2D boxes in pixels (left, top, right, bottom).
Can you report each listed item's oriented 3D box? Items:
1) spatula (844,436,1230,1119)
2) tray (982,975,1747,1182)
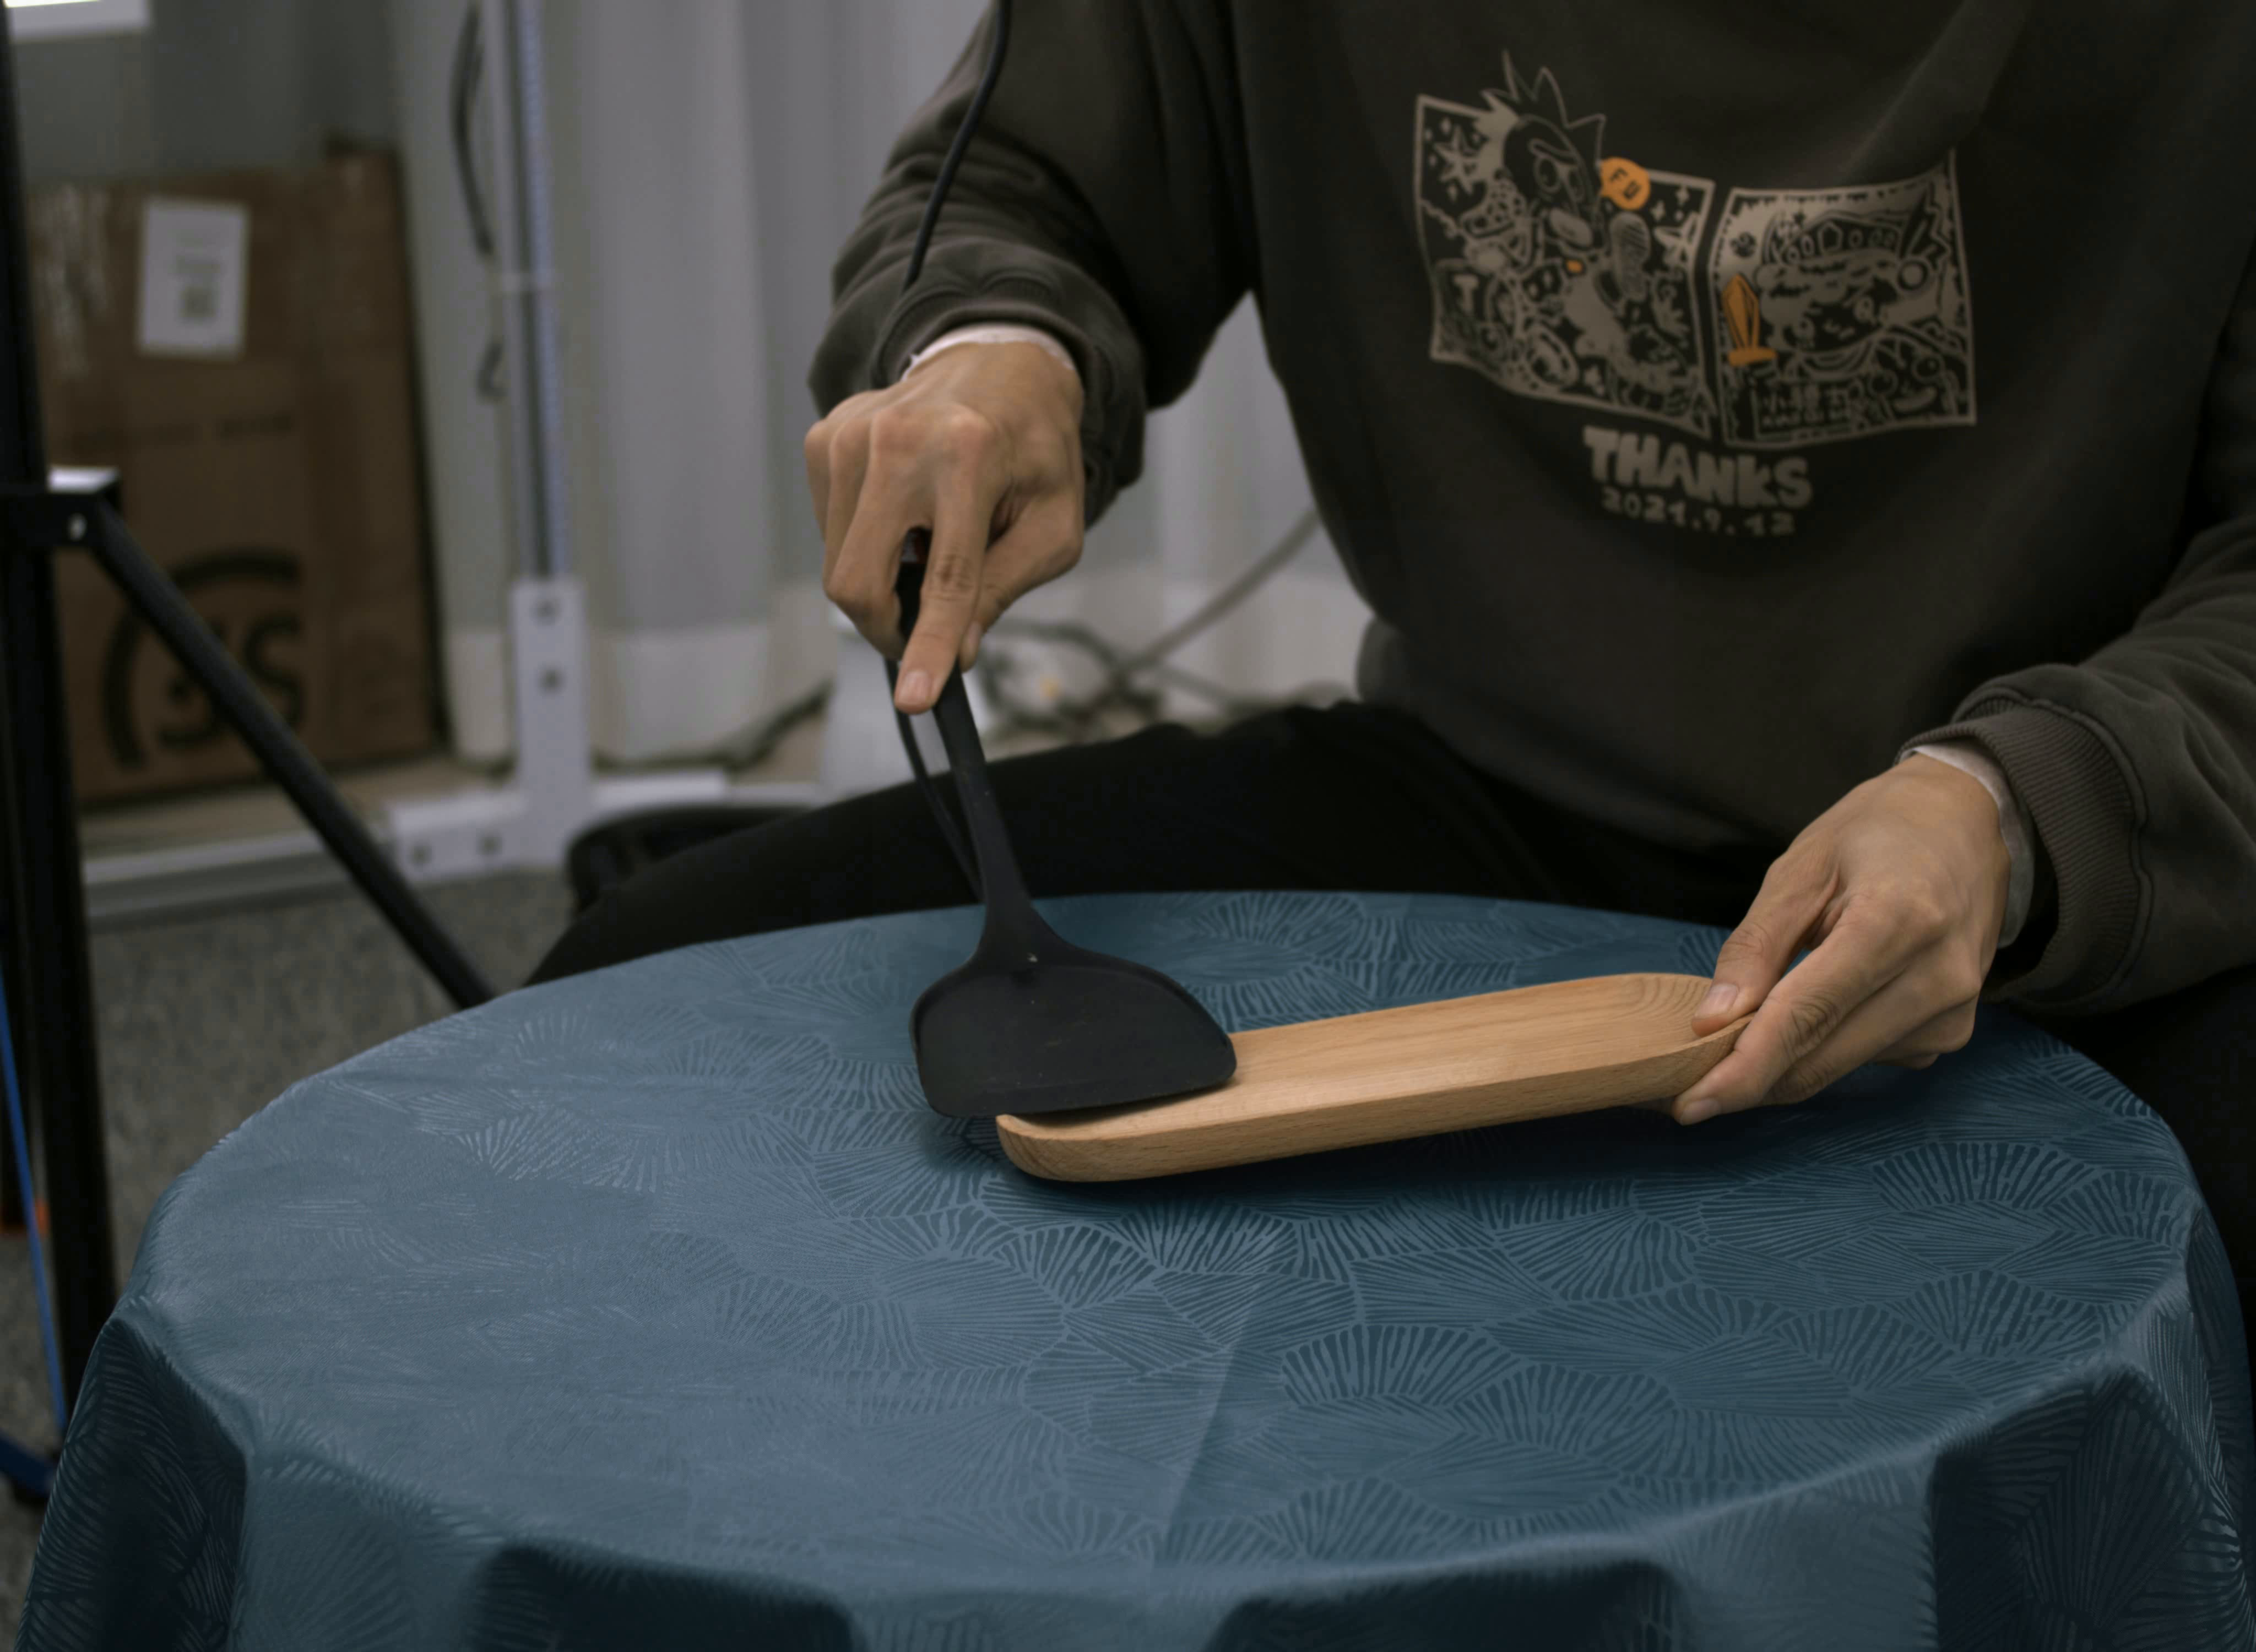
[{"bbox_3d":[-0.052,-0.023,1.718,0.098,0.040,0.332,-7,48,-13],"label":"spatula"},{"bbox_3d":[0.071,0.076,1.589,0.230,0.020,0.102,-10,12,2],"label":"tray"}]
